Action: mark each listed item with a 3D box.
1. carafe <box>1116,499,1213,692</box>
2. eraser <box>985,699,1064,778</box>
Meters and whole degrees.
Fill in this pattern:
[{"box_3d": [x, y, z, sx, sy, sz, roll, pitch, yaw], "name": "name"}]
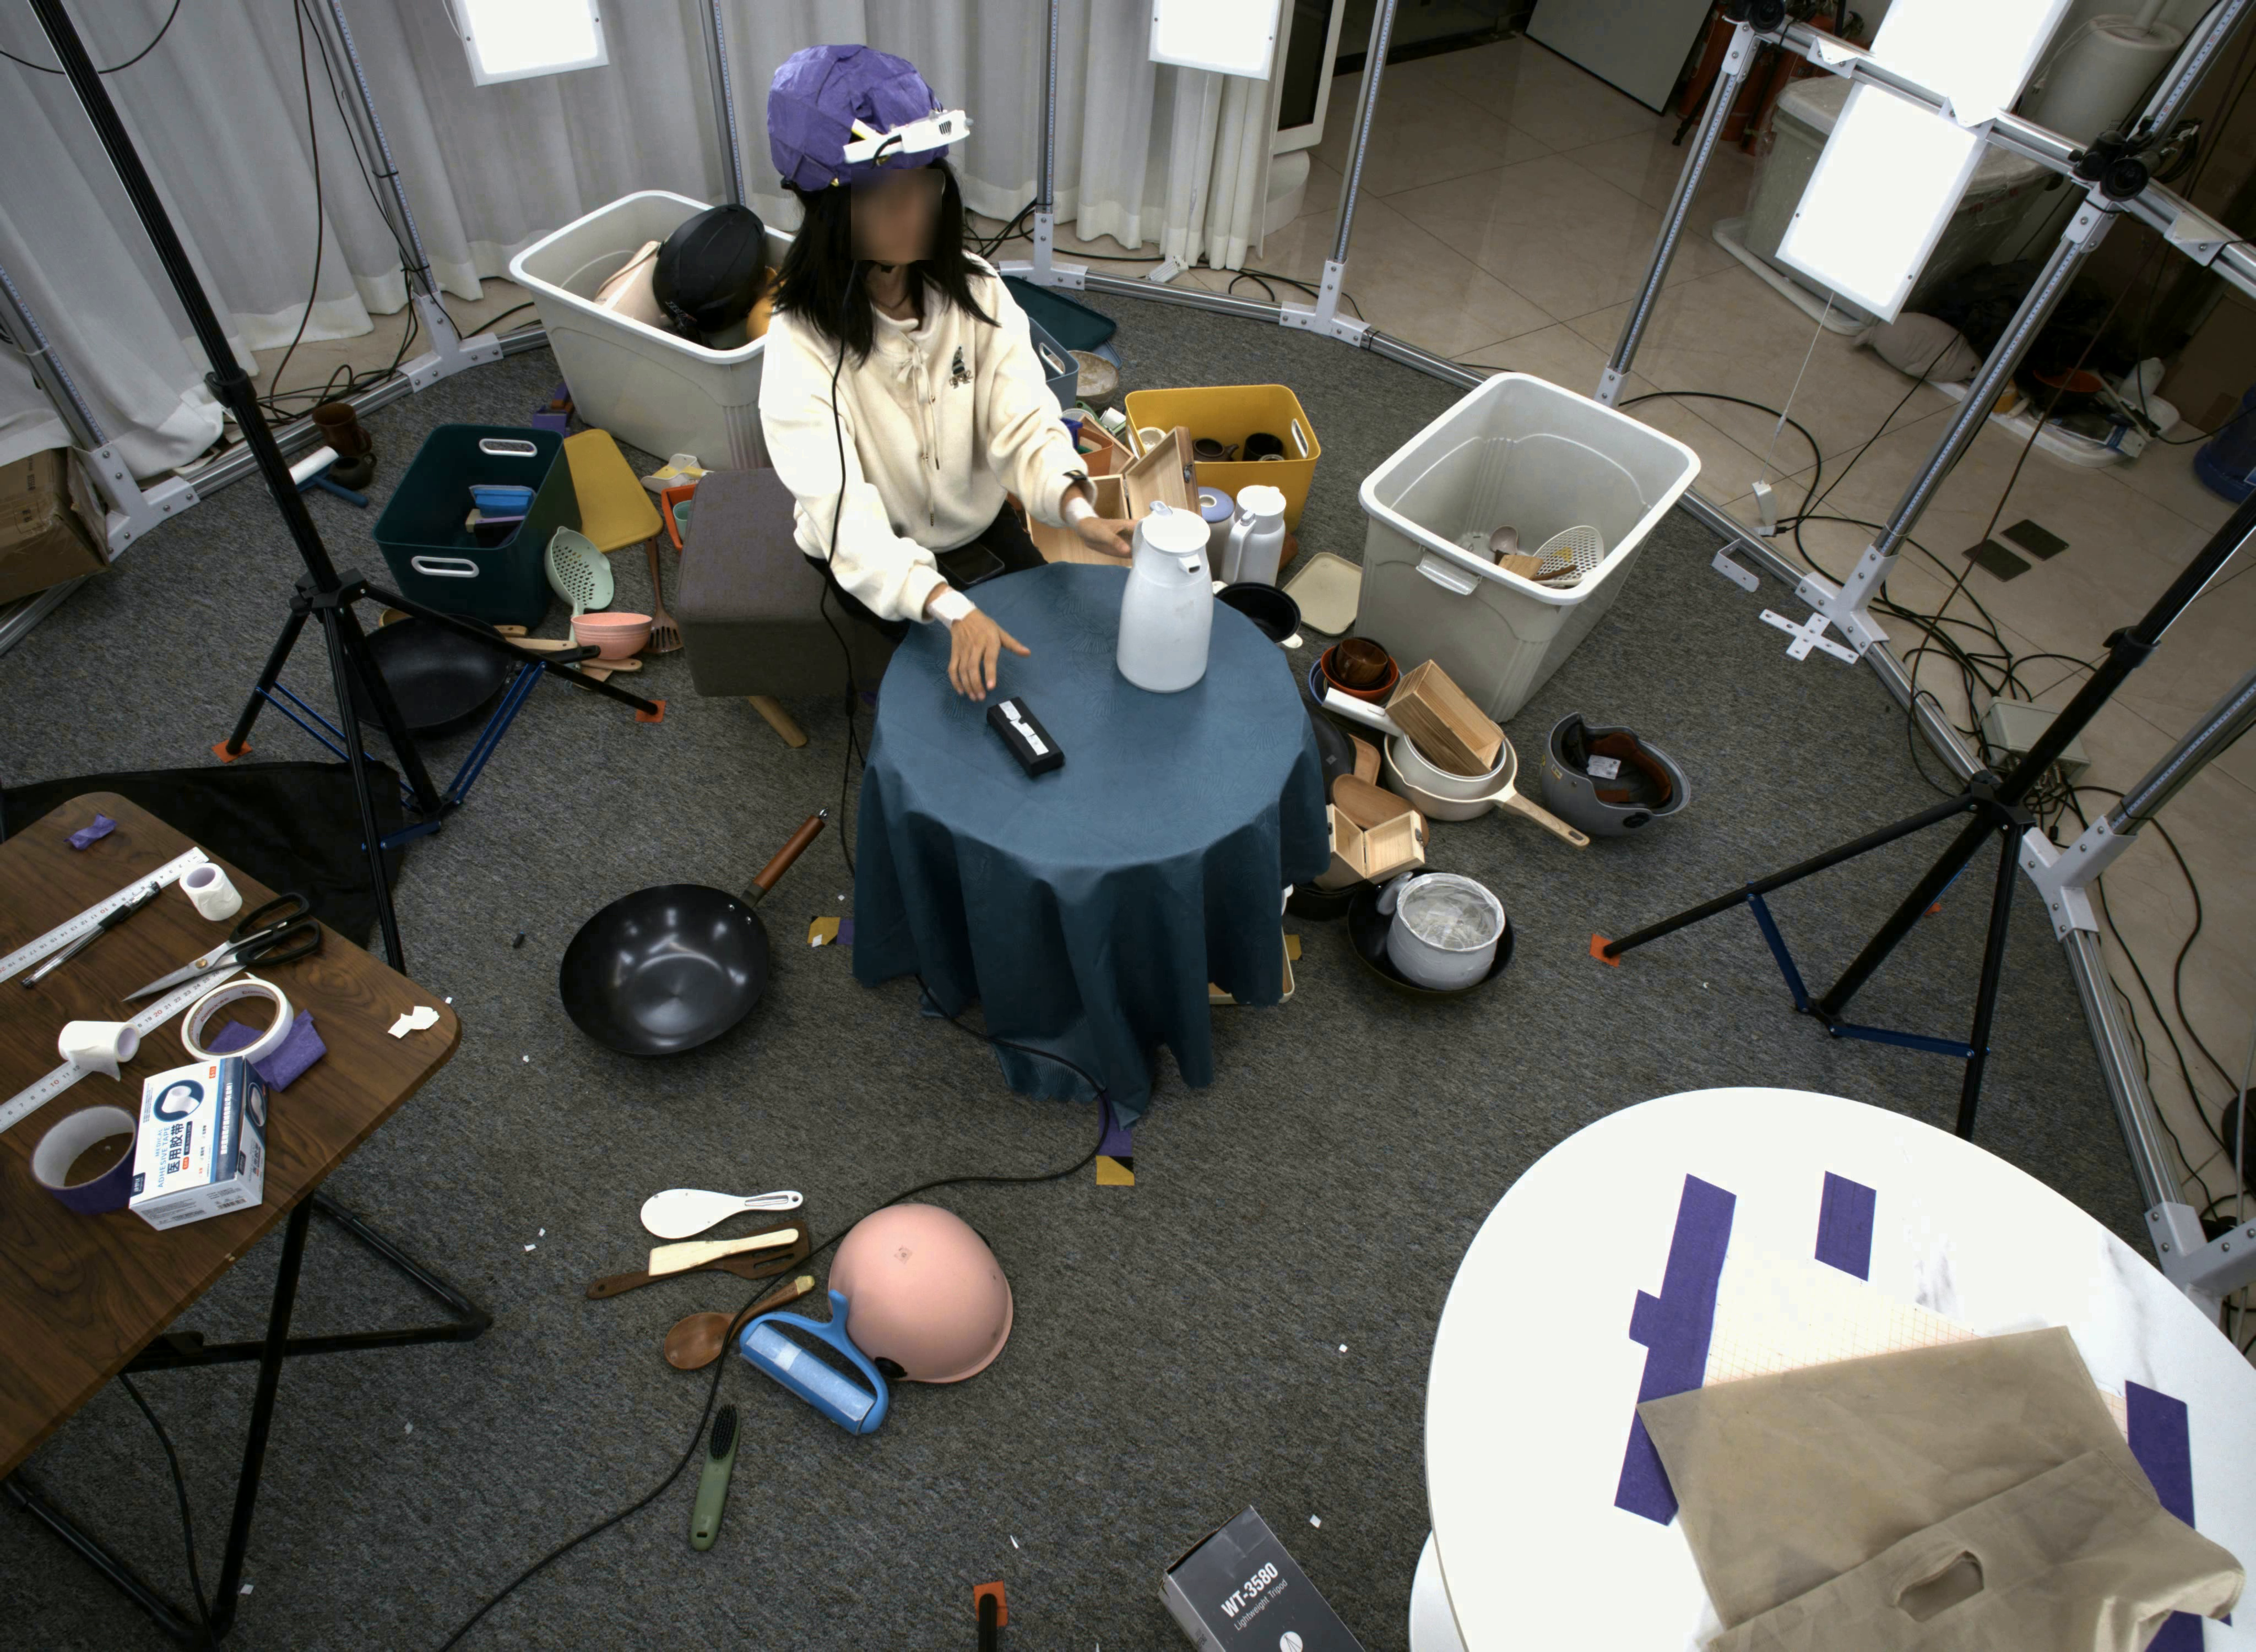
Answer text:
[{"box_3d": [0.047, -0.333, 1.802, 0.133, 0.242, 0.171, -17, 52, -18], "name": "carafe"}, {"box_3d": [-0.141, -0.121, 1.746, 0.054, 0.030, 0.128, -23, 54, -25], "name": "eraser"}]
